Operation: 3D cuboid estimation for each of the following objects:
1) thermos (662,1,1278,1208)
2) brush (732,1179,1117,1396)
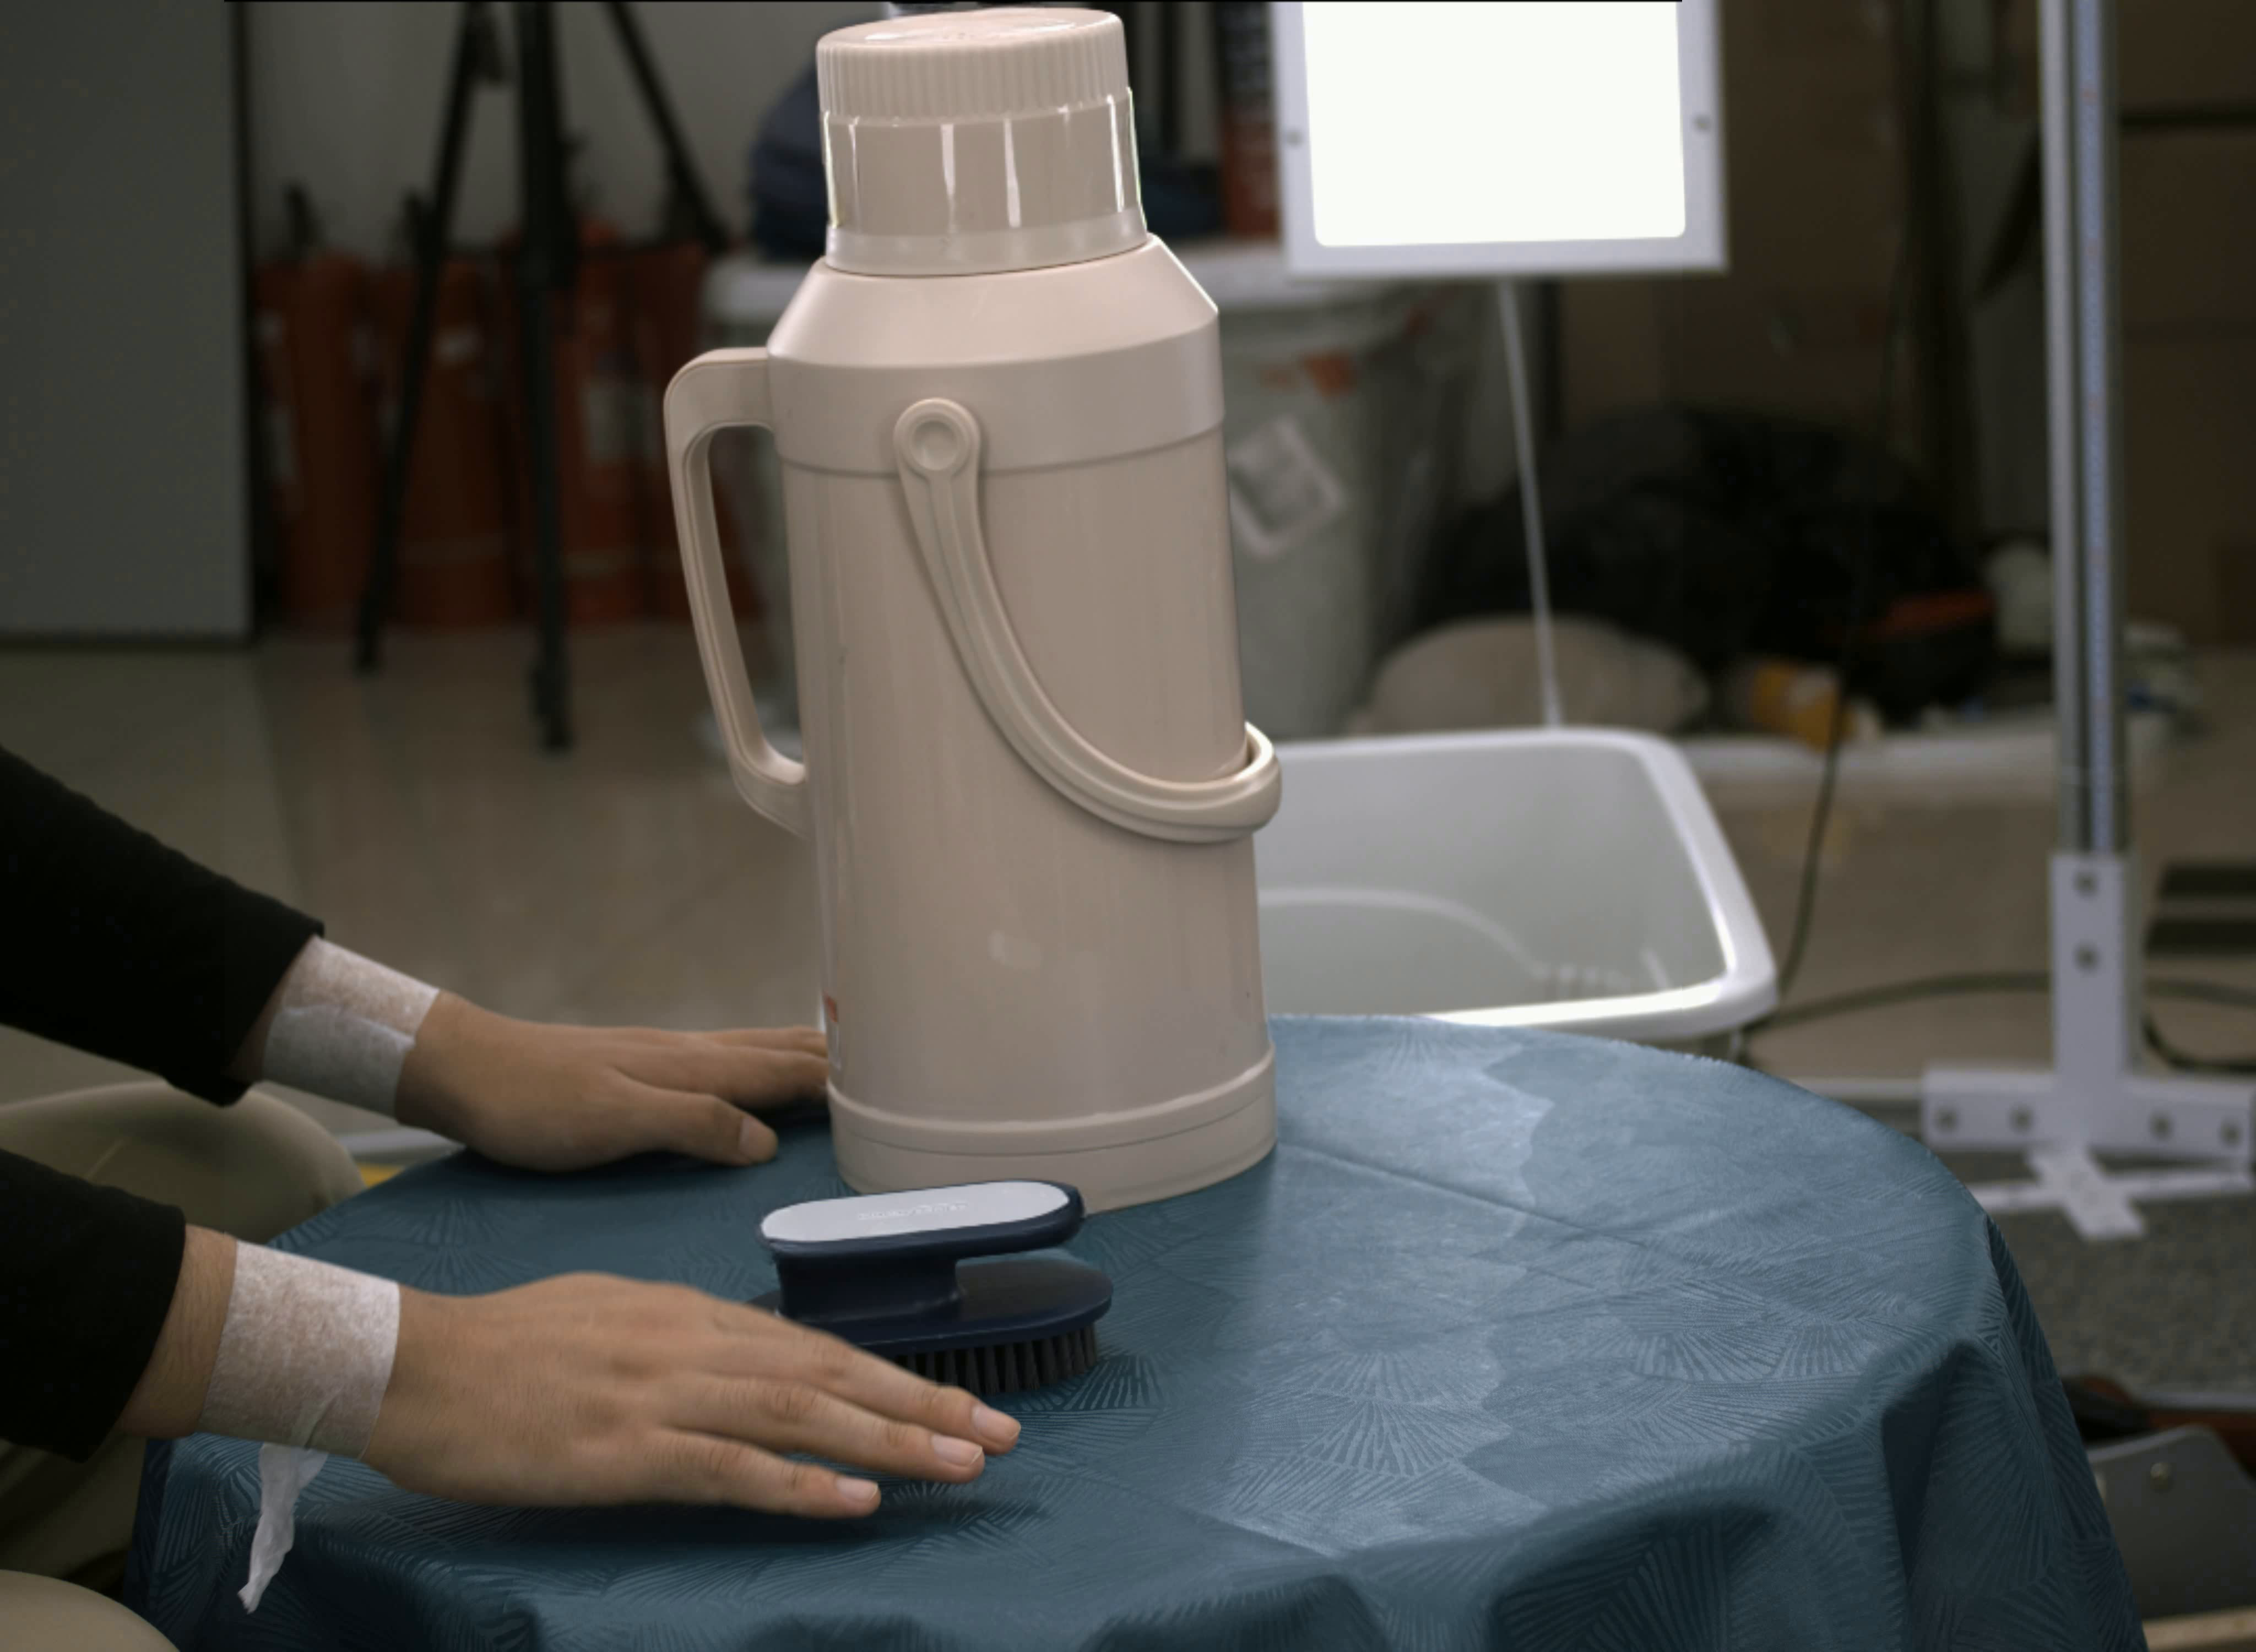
[{"bbox_3d":[-0.054,-0.077,1.914,0.209,0.408,0.173,-1,16,14],"label":"thermos"},{"bbox_3d":[-0.064,0.146,1.726,0.121,0.061,0.068,-3,11,-2],"label":"brush"}]
